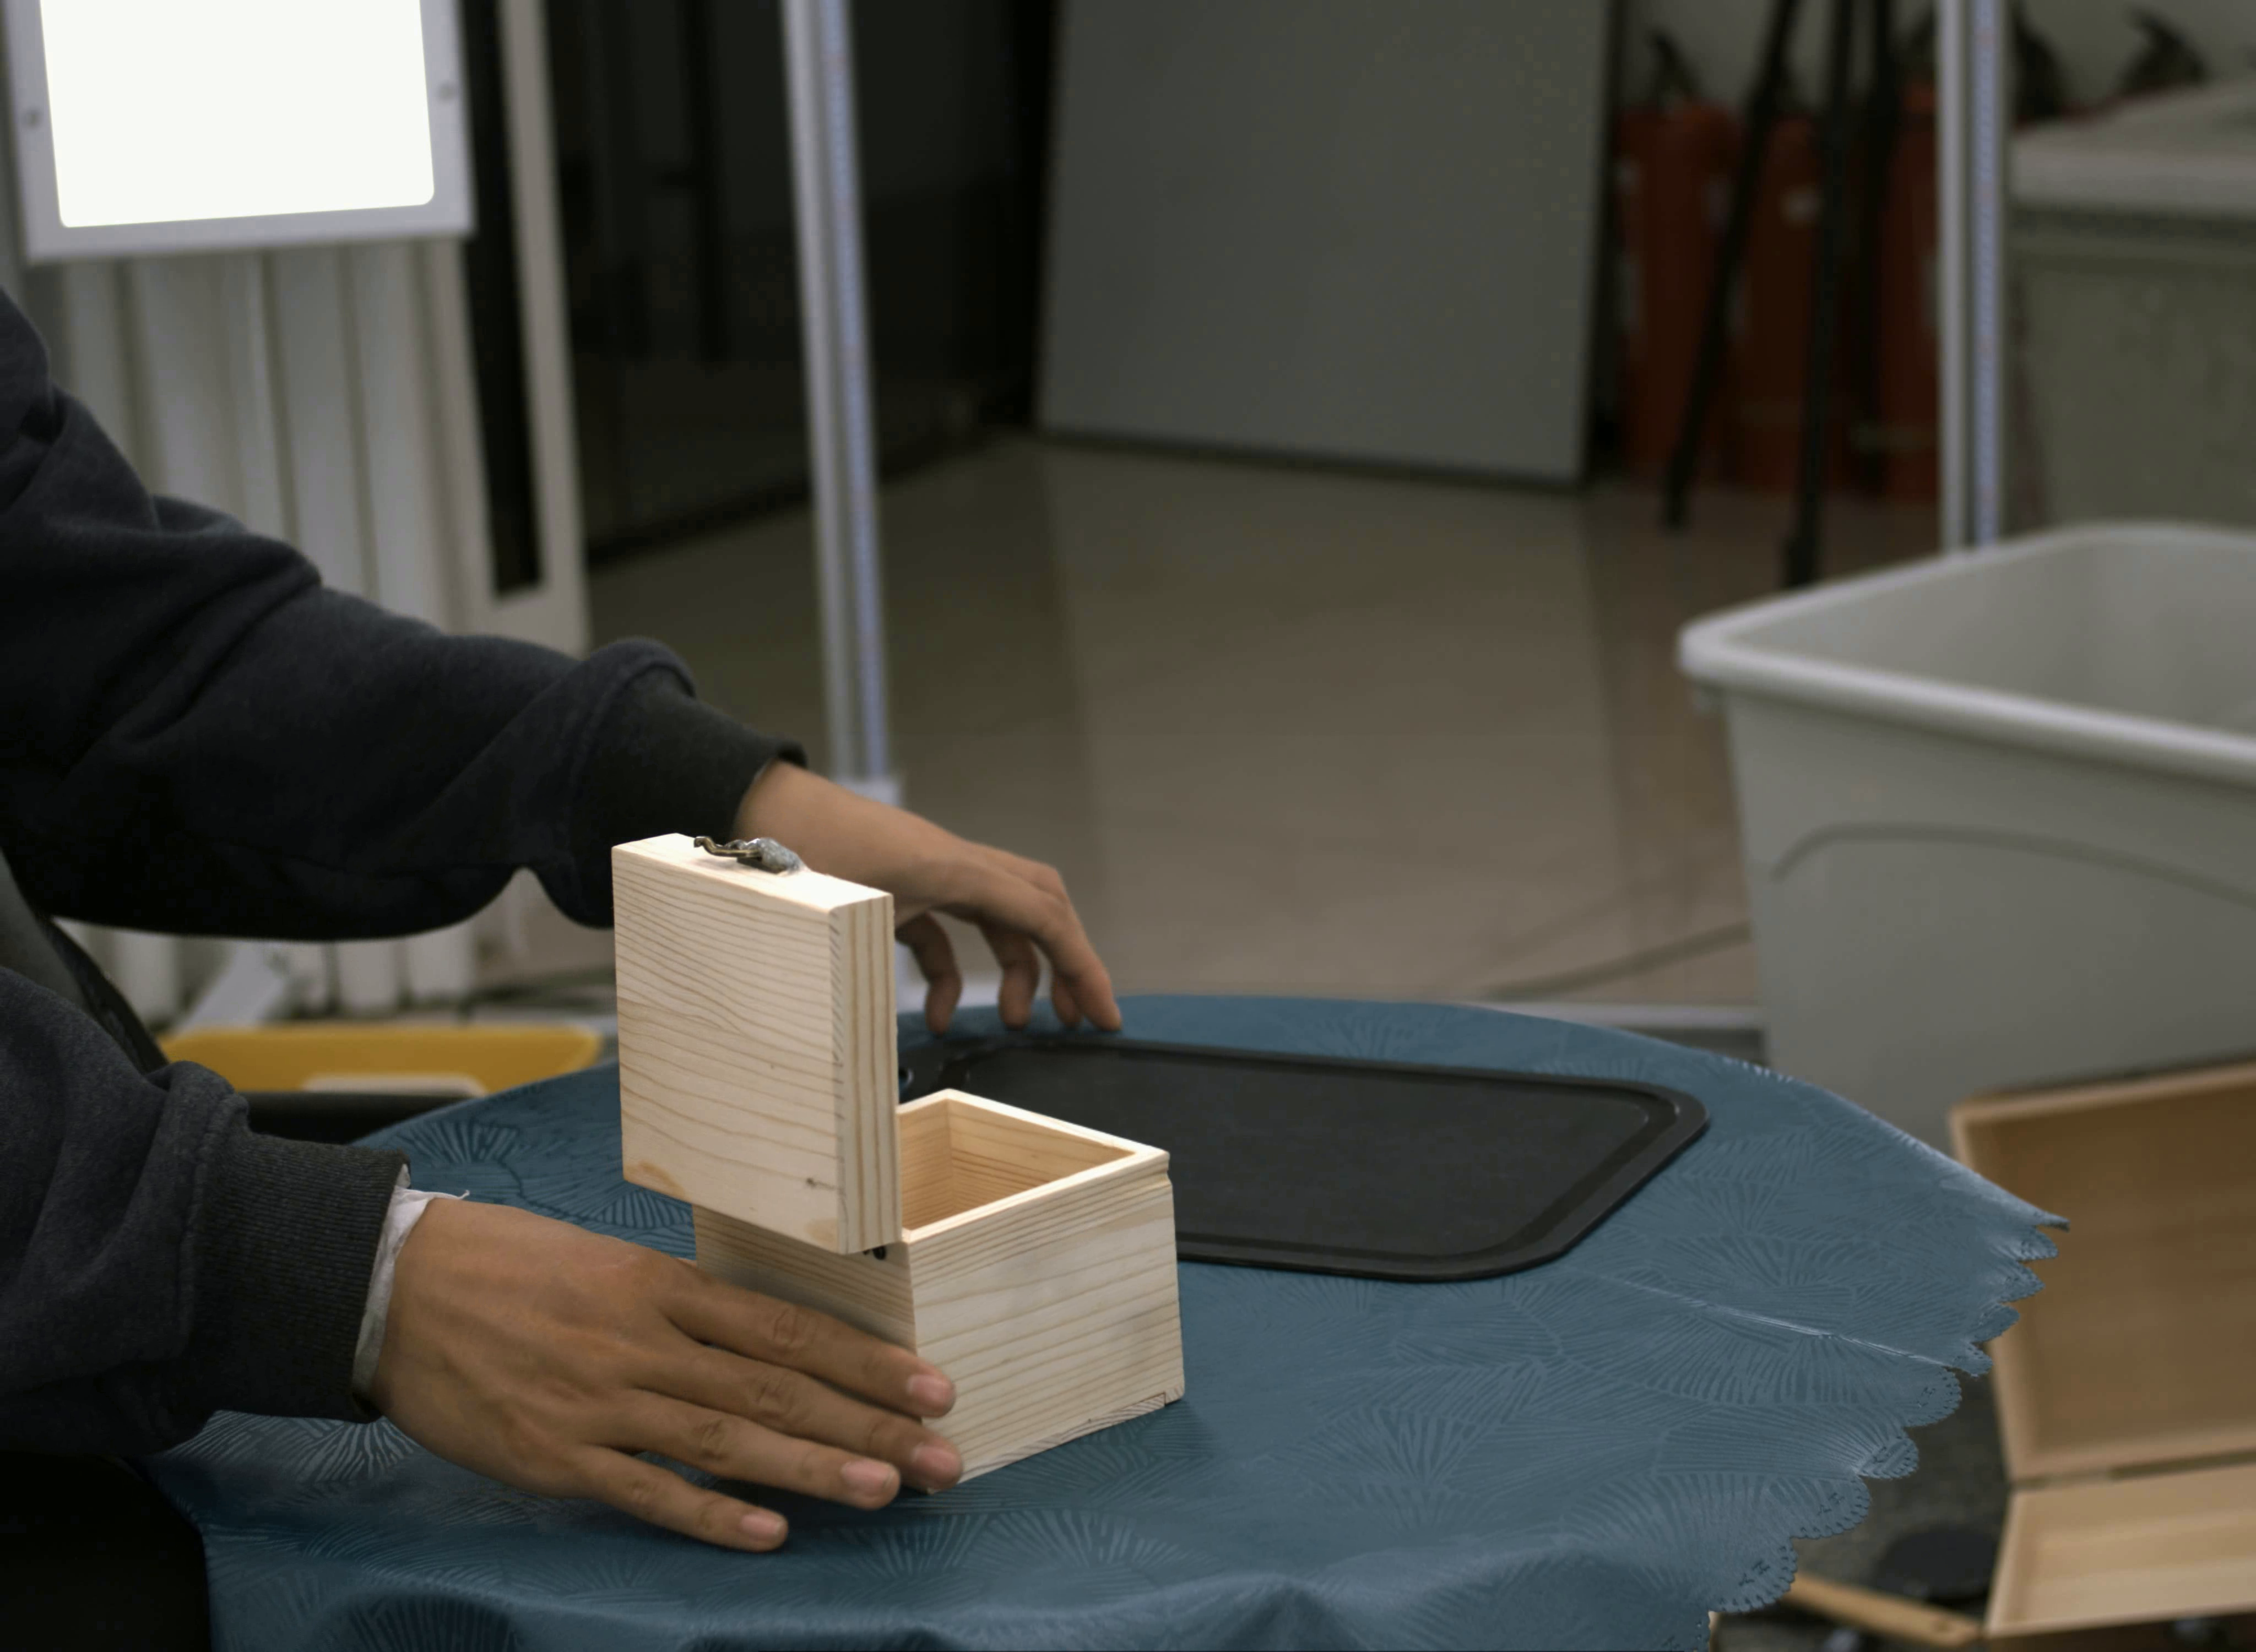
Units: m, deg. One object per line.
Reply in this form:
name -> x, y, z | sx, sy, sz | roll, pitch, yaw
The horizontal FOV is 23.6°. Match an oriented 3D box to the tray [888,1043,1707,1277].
tray -> 0.020, 0.108, 1.805 | 0.326, 0.010, 0.208 | 3, 15, 27

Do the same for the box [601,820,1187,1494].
box -> -0.065, 0.083, 1.552 | 0.131, 0.186, 0.103 | -17, 19, -39
